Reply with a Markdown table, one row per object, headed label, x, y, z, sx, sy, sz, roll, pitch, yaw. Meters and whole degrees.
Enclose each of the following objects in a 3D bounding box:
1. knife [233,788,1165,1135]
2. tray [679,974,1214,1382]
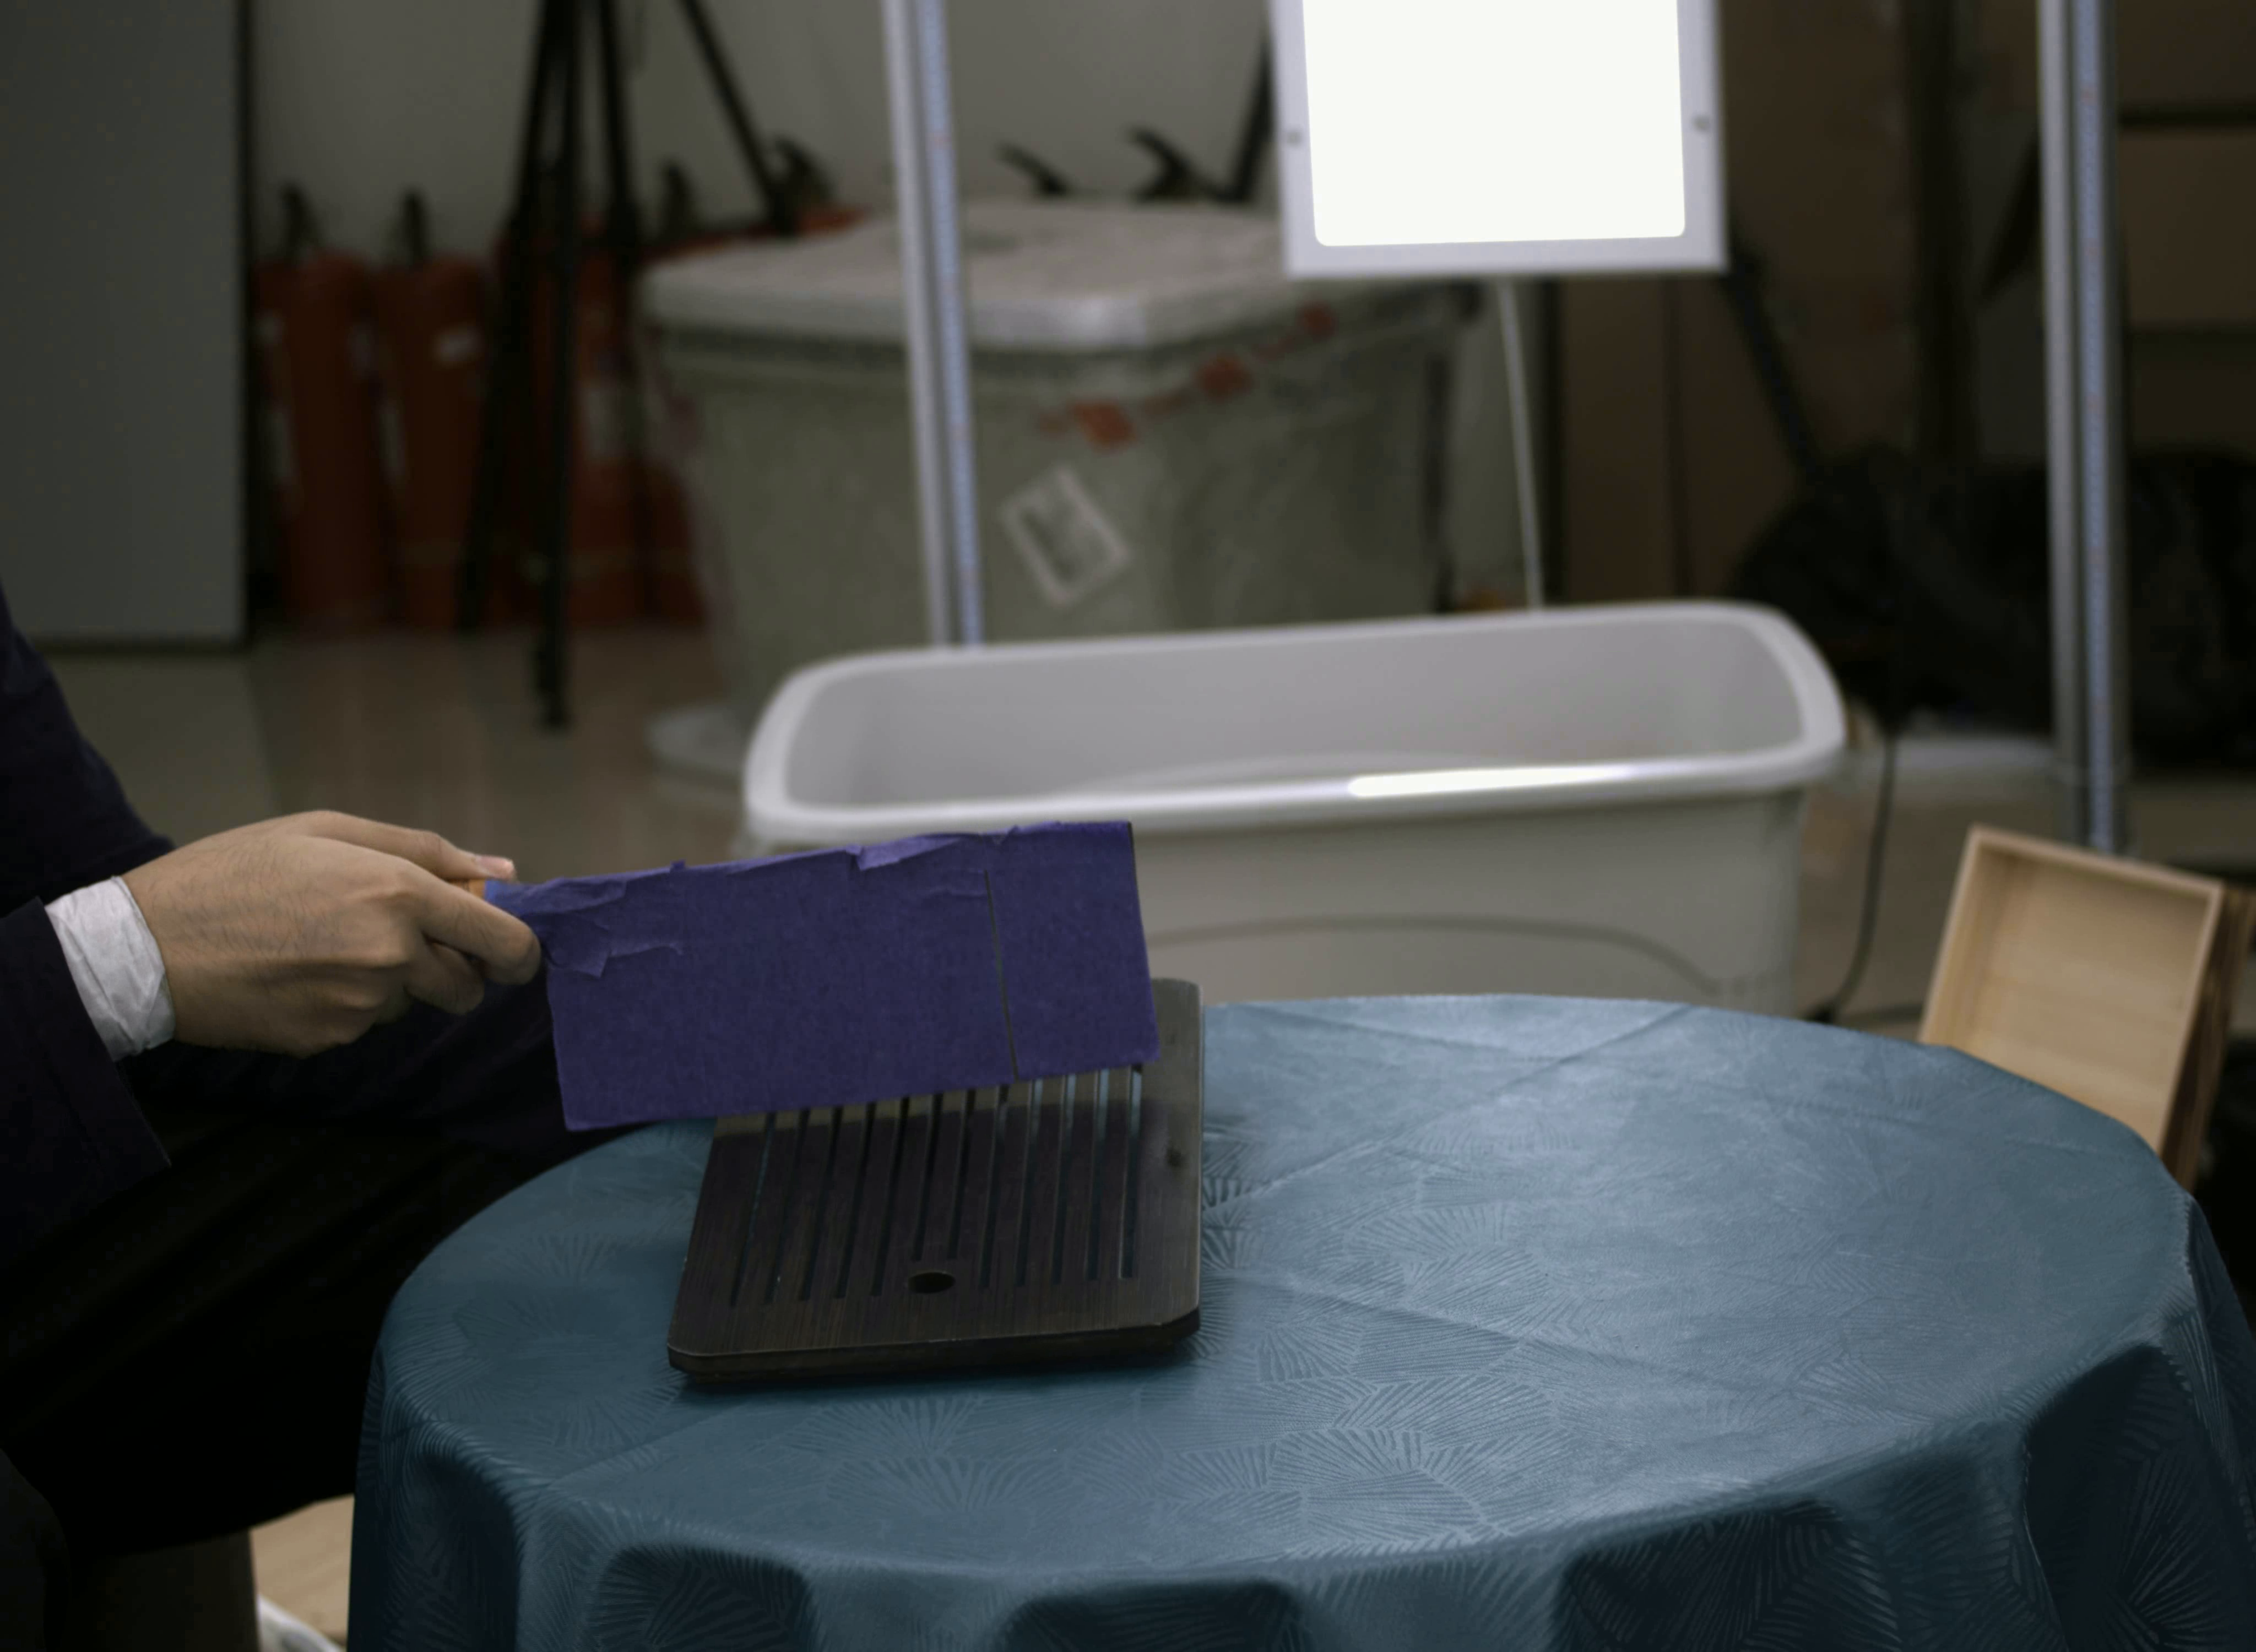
| label | x | y | z | sx | sy | sz | roll | pitch | yaw |
| --- | --- | --- | --- | --- | --- | --- | --- | --- | --- |
| knife | -0.145 | 0.057 | 1.890 | 0.315 | 0.104 | 0.032 | -7 | 11 | 2 |
| tray | -0.055 | 0.117 | 1.867 | 0.170 | 0.019 | 0.304 | -5 | 19 | 3 |
